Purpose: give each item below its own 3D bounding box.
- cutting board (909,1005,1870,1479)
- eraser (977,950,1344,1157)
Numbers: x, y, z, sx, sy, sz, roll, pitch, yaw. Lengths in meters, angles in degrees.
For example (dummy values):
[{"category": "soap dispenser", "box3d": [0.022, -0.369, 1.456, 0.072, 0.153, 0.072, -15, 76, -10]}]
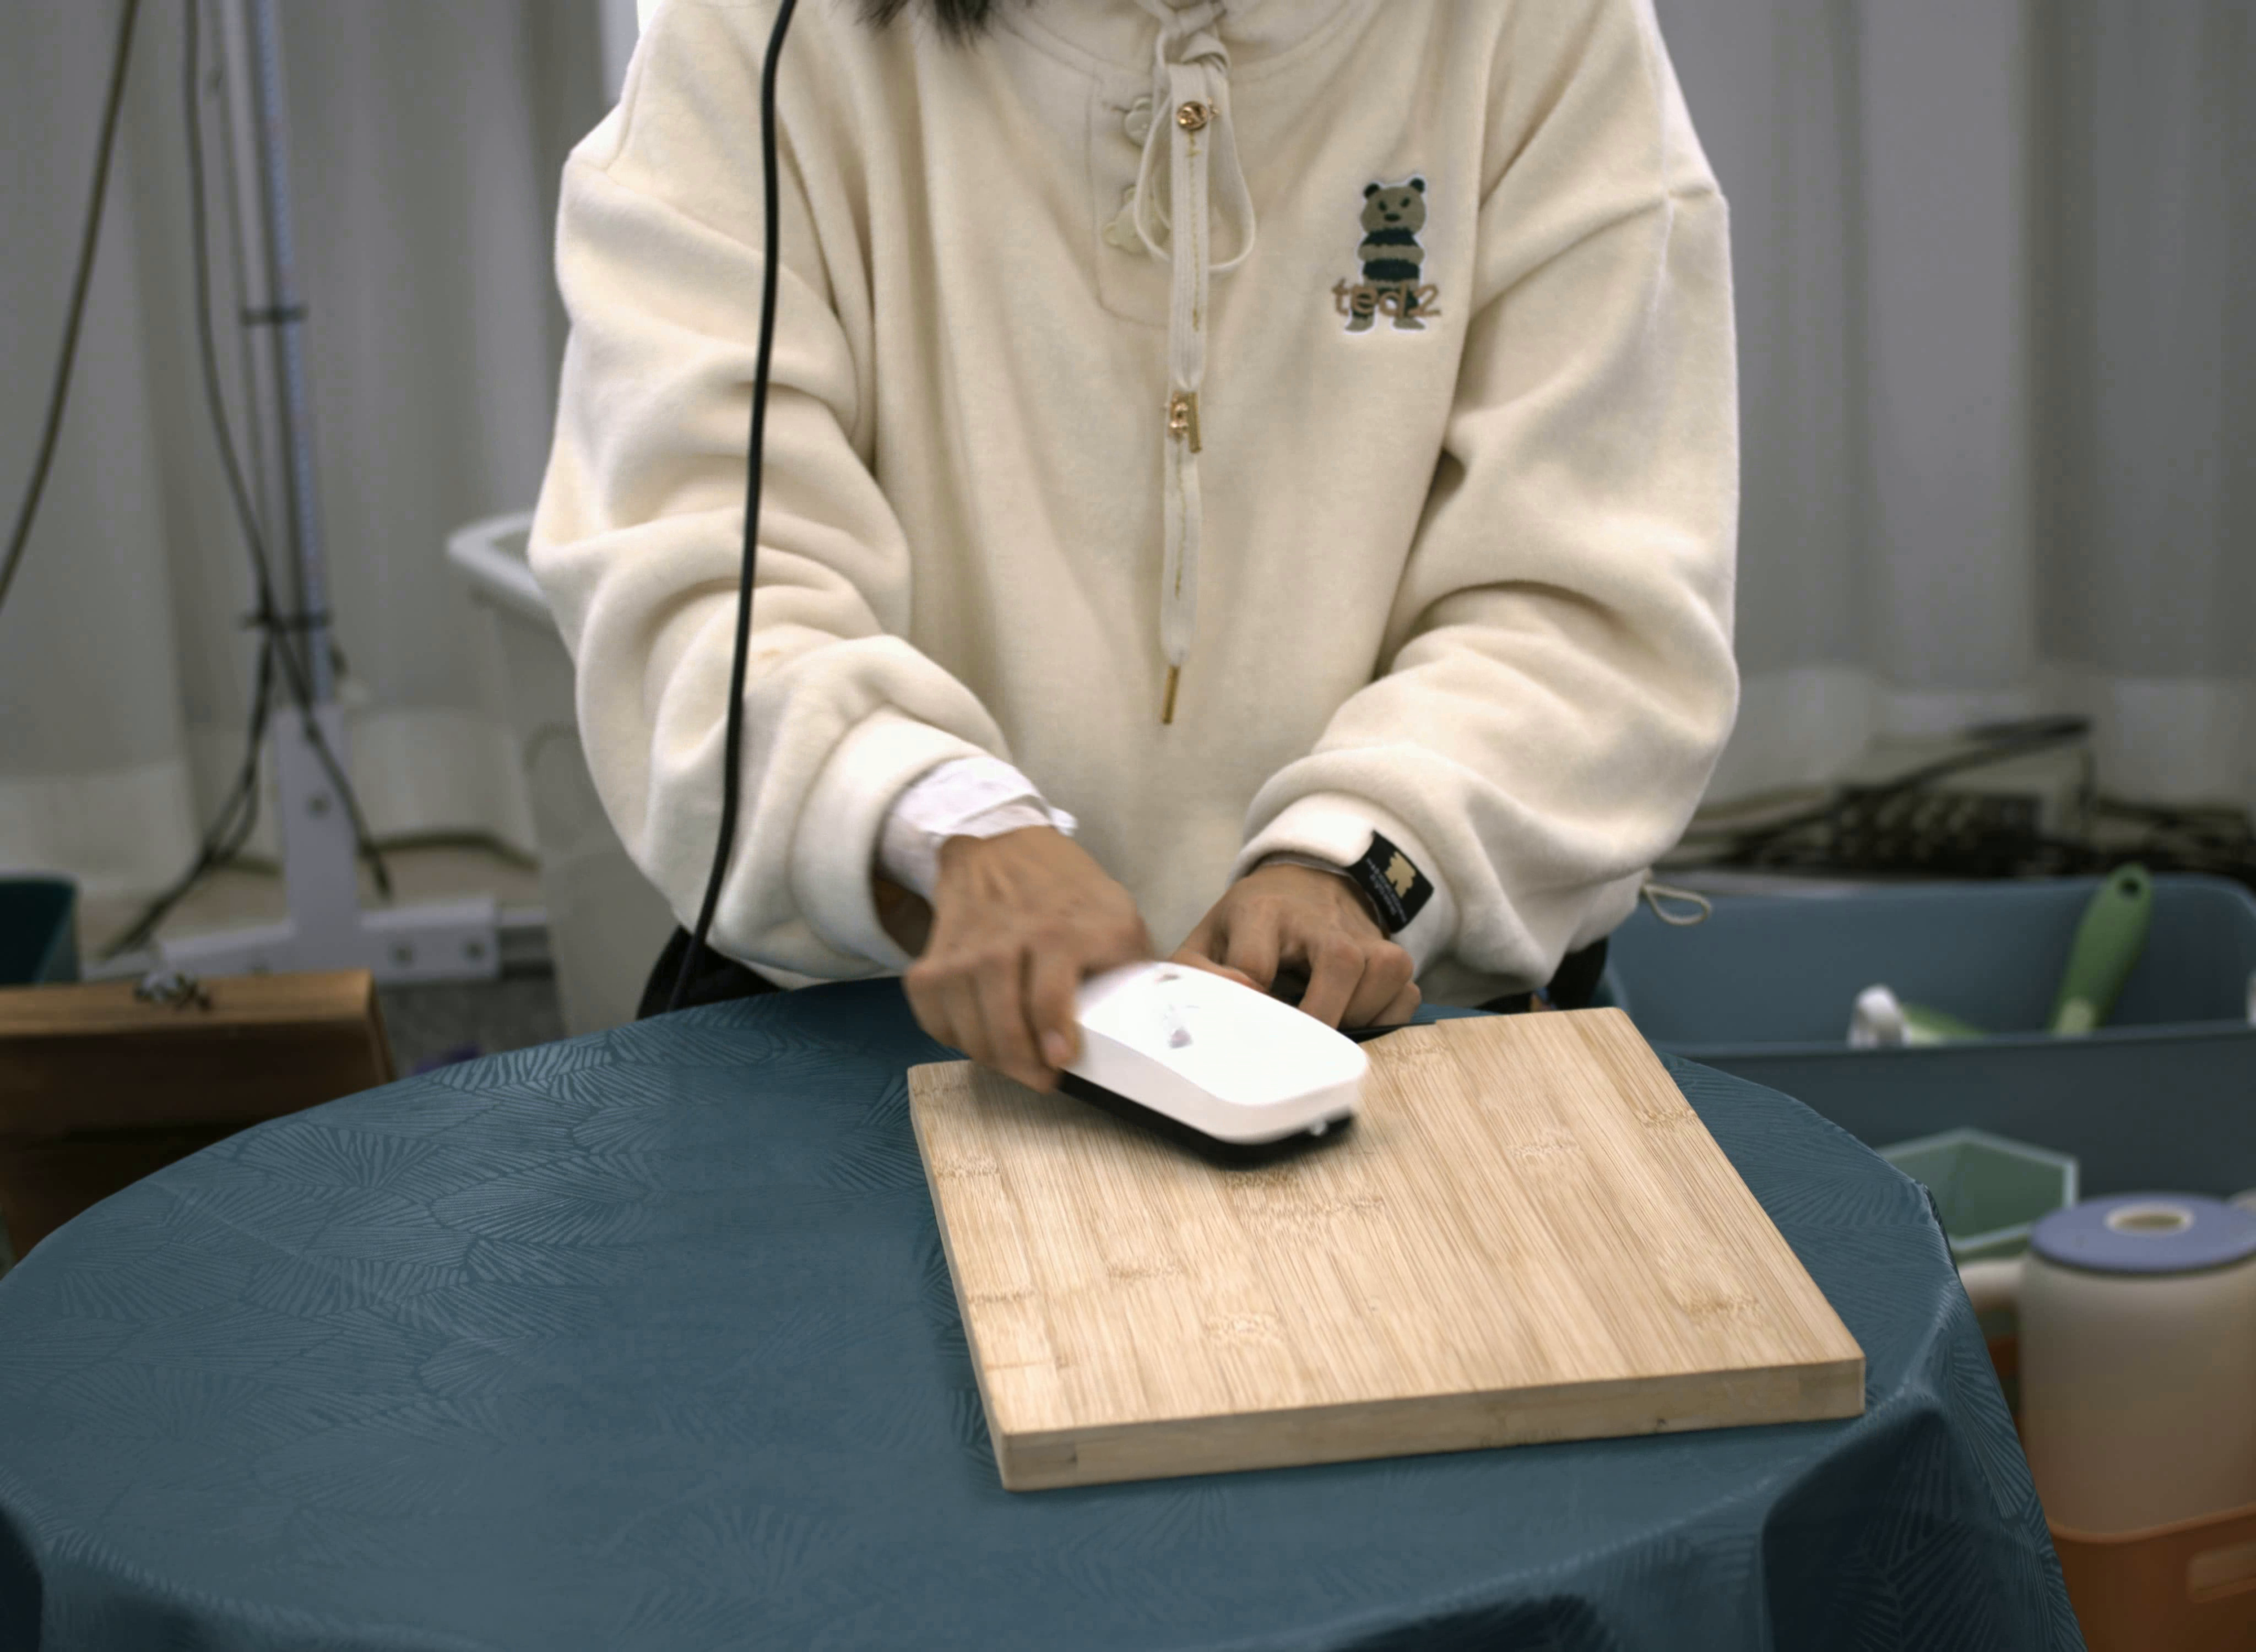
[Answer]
[{"category": "cutting board", "box3d": [0.066, 0.120, 1.651, 0.250, 0.023, 0.351, -5, 14, -6]}, {"category": "eraser", "box3d": [0.010, 0.068, 1.728, 0.063, 0.034, 0.132, -15, 23, -35]}]
